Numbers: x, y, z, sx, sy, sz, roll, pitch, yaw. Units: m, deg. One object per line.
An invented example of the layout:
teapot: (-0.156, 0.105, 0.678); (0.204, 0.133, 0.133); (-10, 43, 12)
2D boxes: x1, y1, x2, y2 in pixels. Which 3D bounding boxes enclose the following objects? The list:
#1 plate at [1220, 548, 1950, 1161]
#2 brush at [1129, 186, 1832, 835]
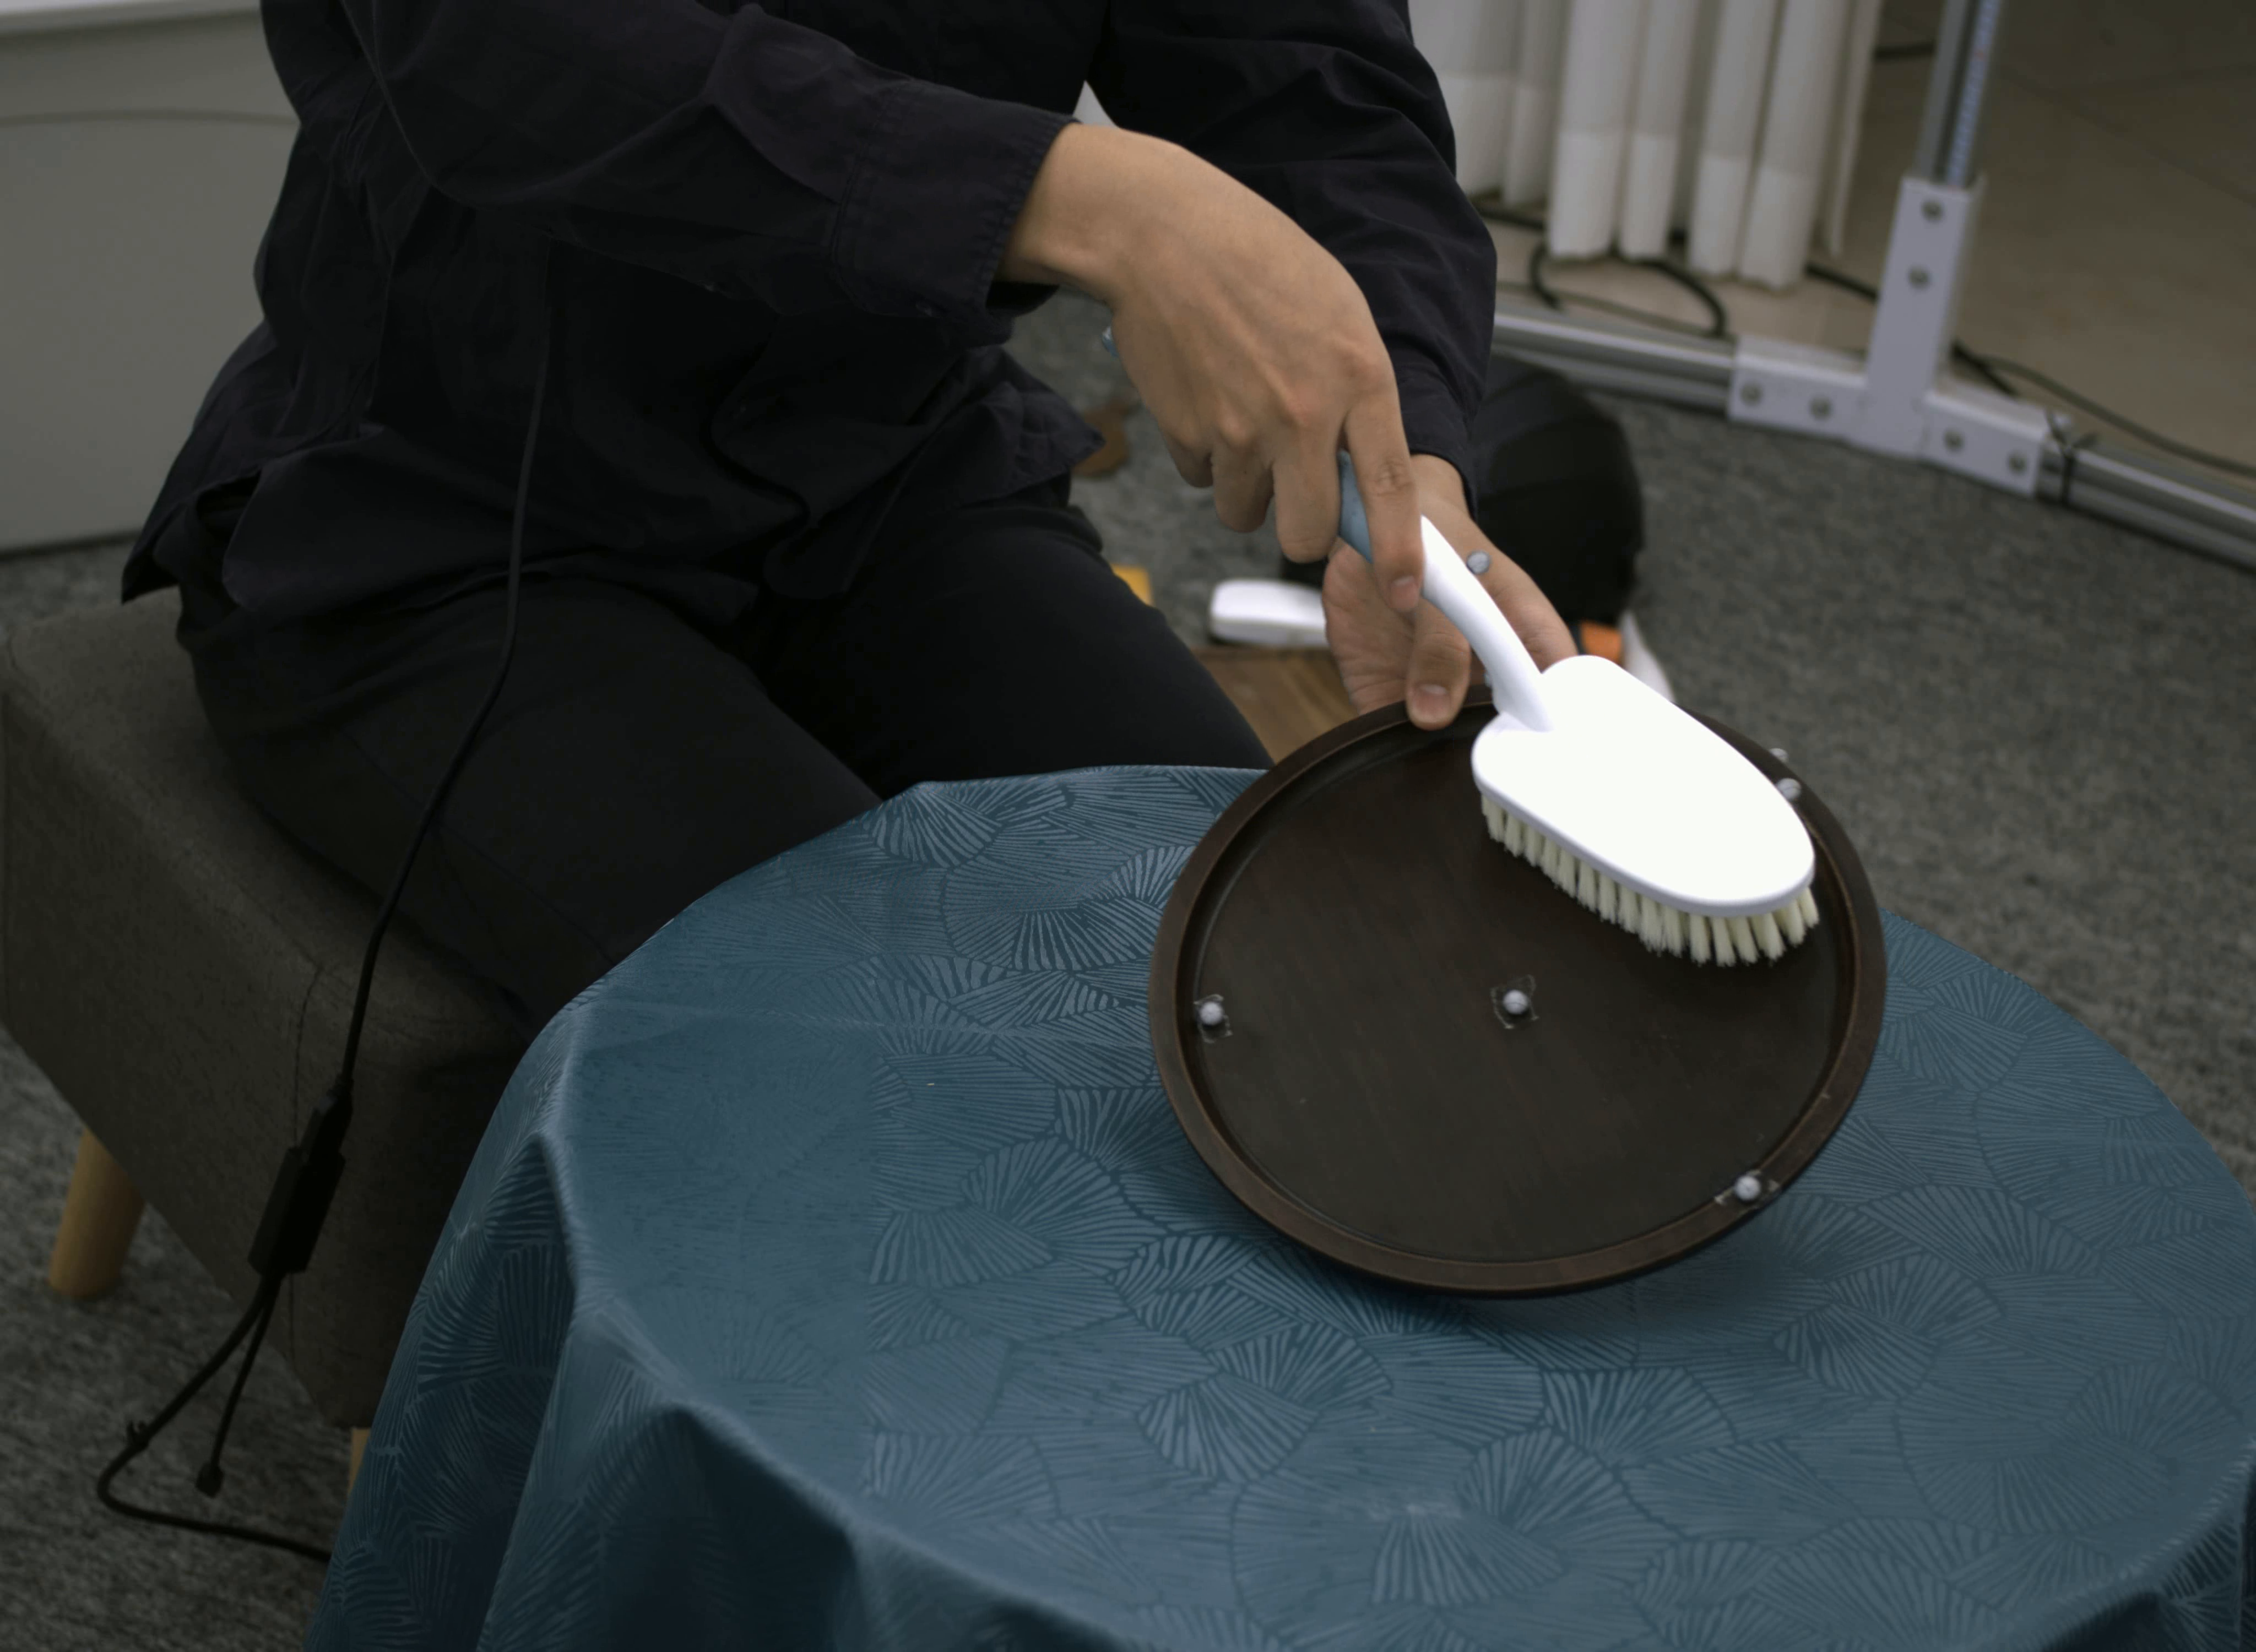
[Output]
plate: (0.158, 0.009, 1.846); (0.254, 0.029, 0.257); (-6, 53, 8)
brush: (0.122, -0.109, 1.884); (0.327, 0.084, 0.083); (42, 32, 17)
